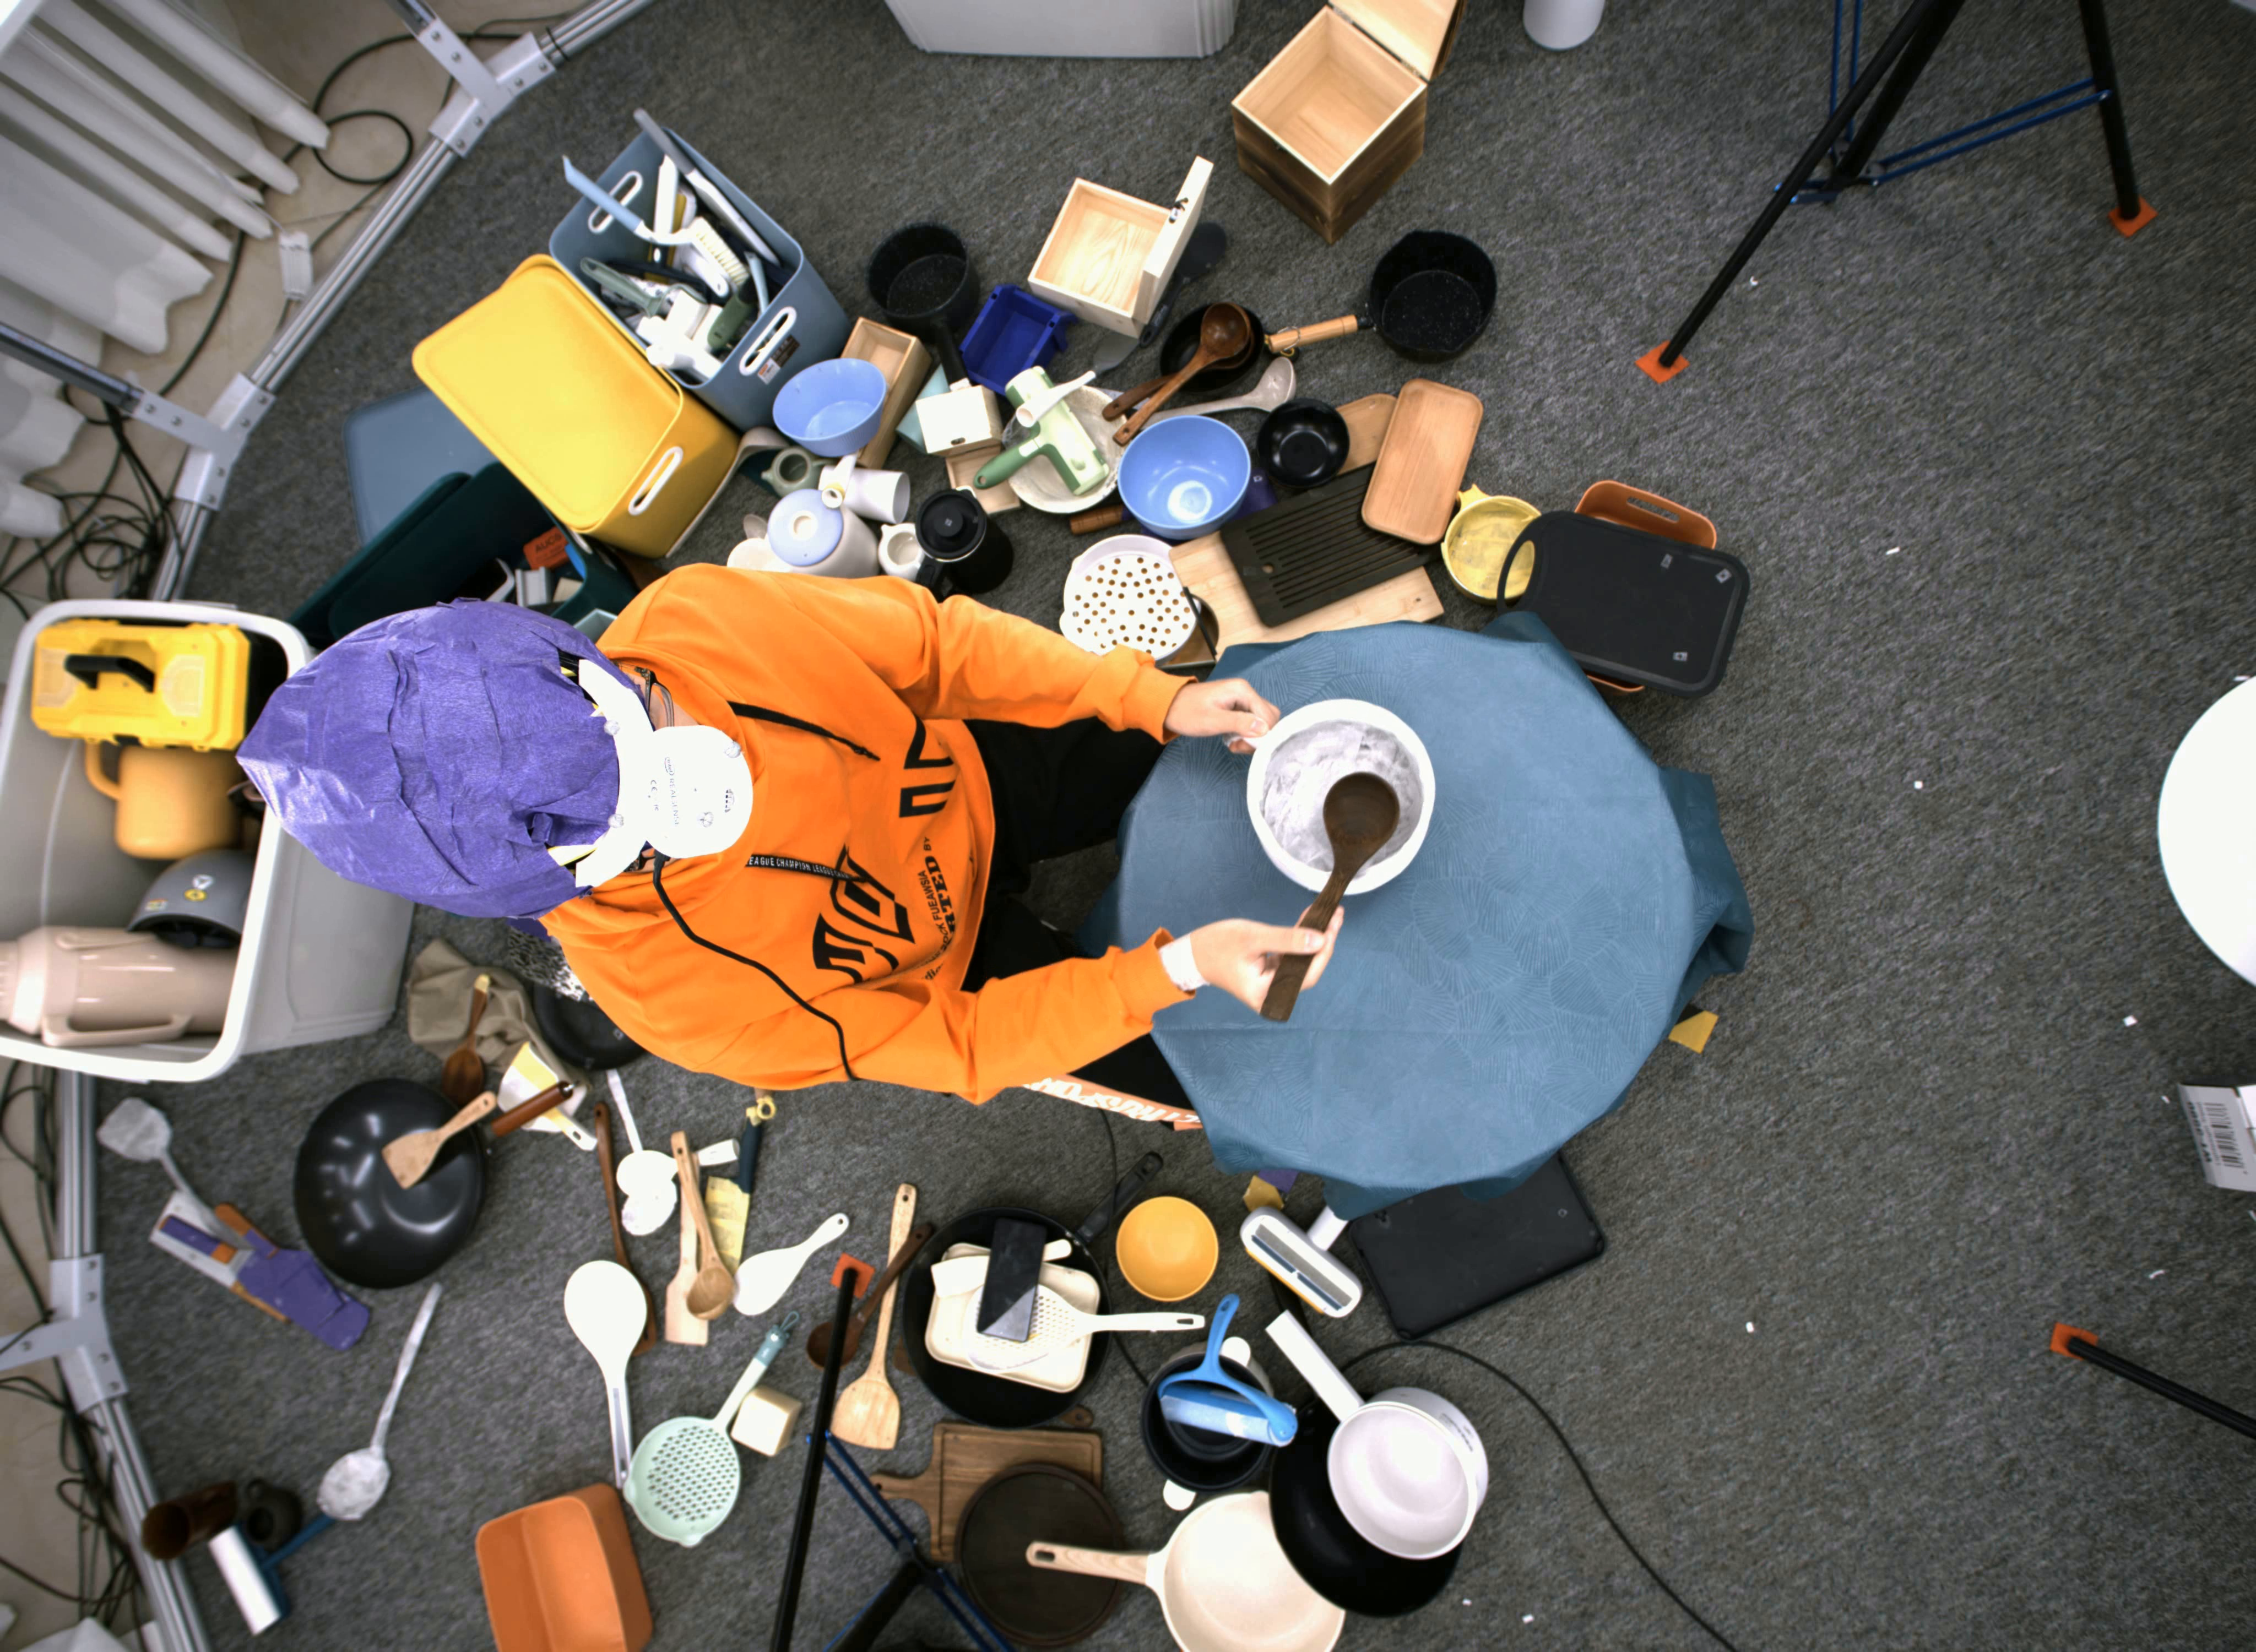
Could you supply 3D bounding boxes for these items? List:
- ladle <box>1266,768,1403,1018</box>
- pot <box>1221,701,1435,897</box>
[{"bbox_3d":[0.179,0.051,1.242,0.076,0.073,0.267,8,44,29],"label":"ladle"},{"bbox_3d":[0.188,-0.039,1.370,0.233,0.137,0.178,36,89,12],"label":"pot"}]
